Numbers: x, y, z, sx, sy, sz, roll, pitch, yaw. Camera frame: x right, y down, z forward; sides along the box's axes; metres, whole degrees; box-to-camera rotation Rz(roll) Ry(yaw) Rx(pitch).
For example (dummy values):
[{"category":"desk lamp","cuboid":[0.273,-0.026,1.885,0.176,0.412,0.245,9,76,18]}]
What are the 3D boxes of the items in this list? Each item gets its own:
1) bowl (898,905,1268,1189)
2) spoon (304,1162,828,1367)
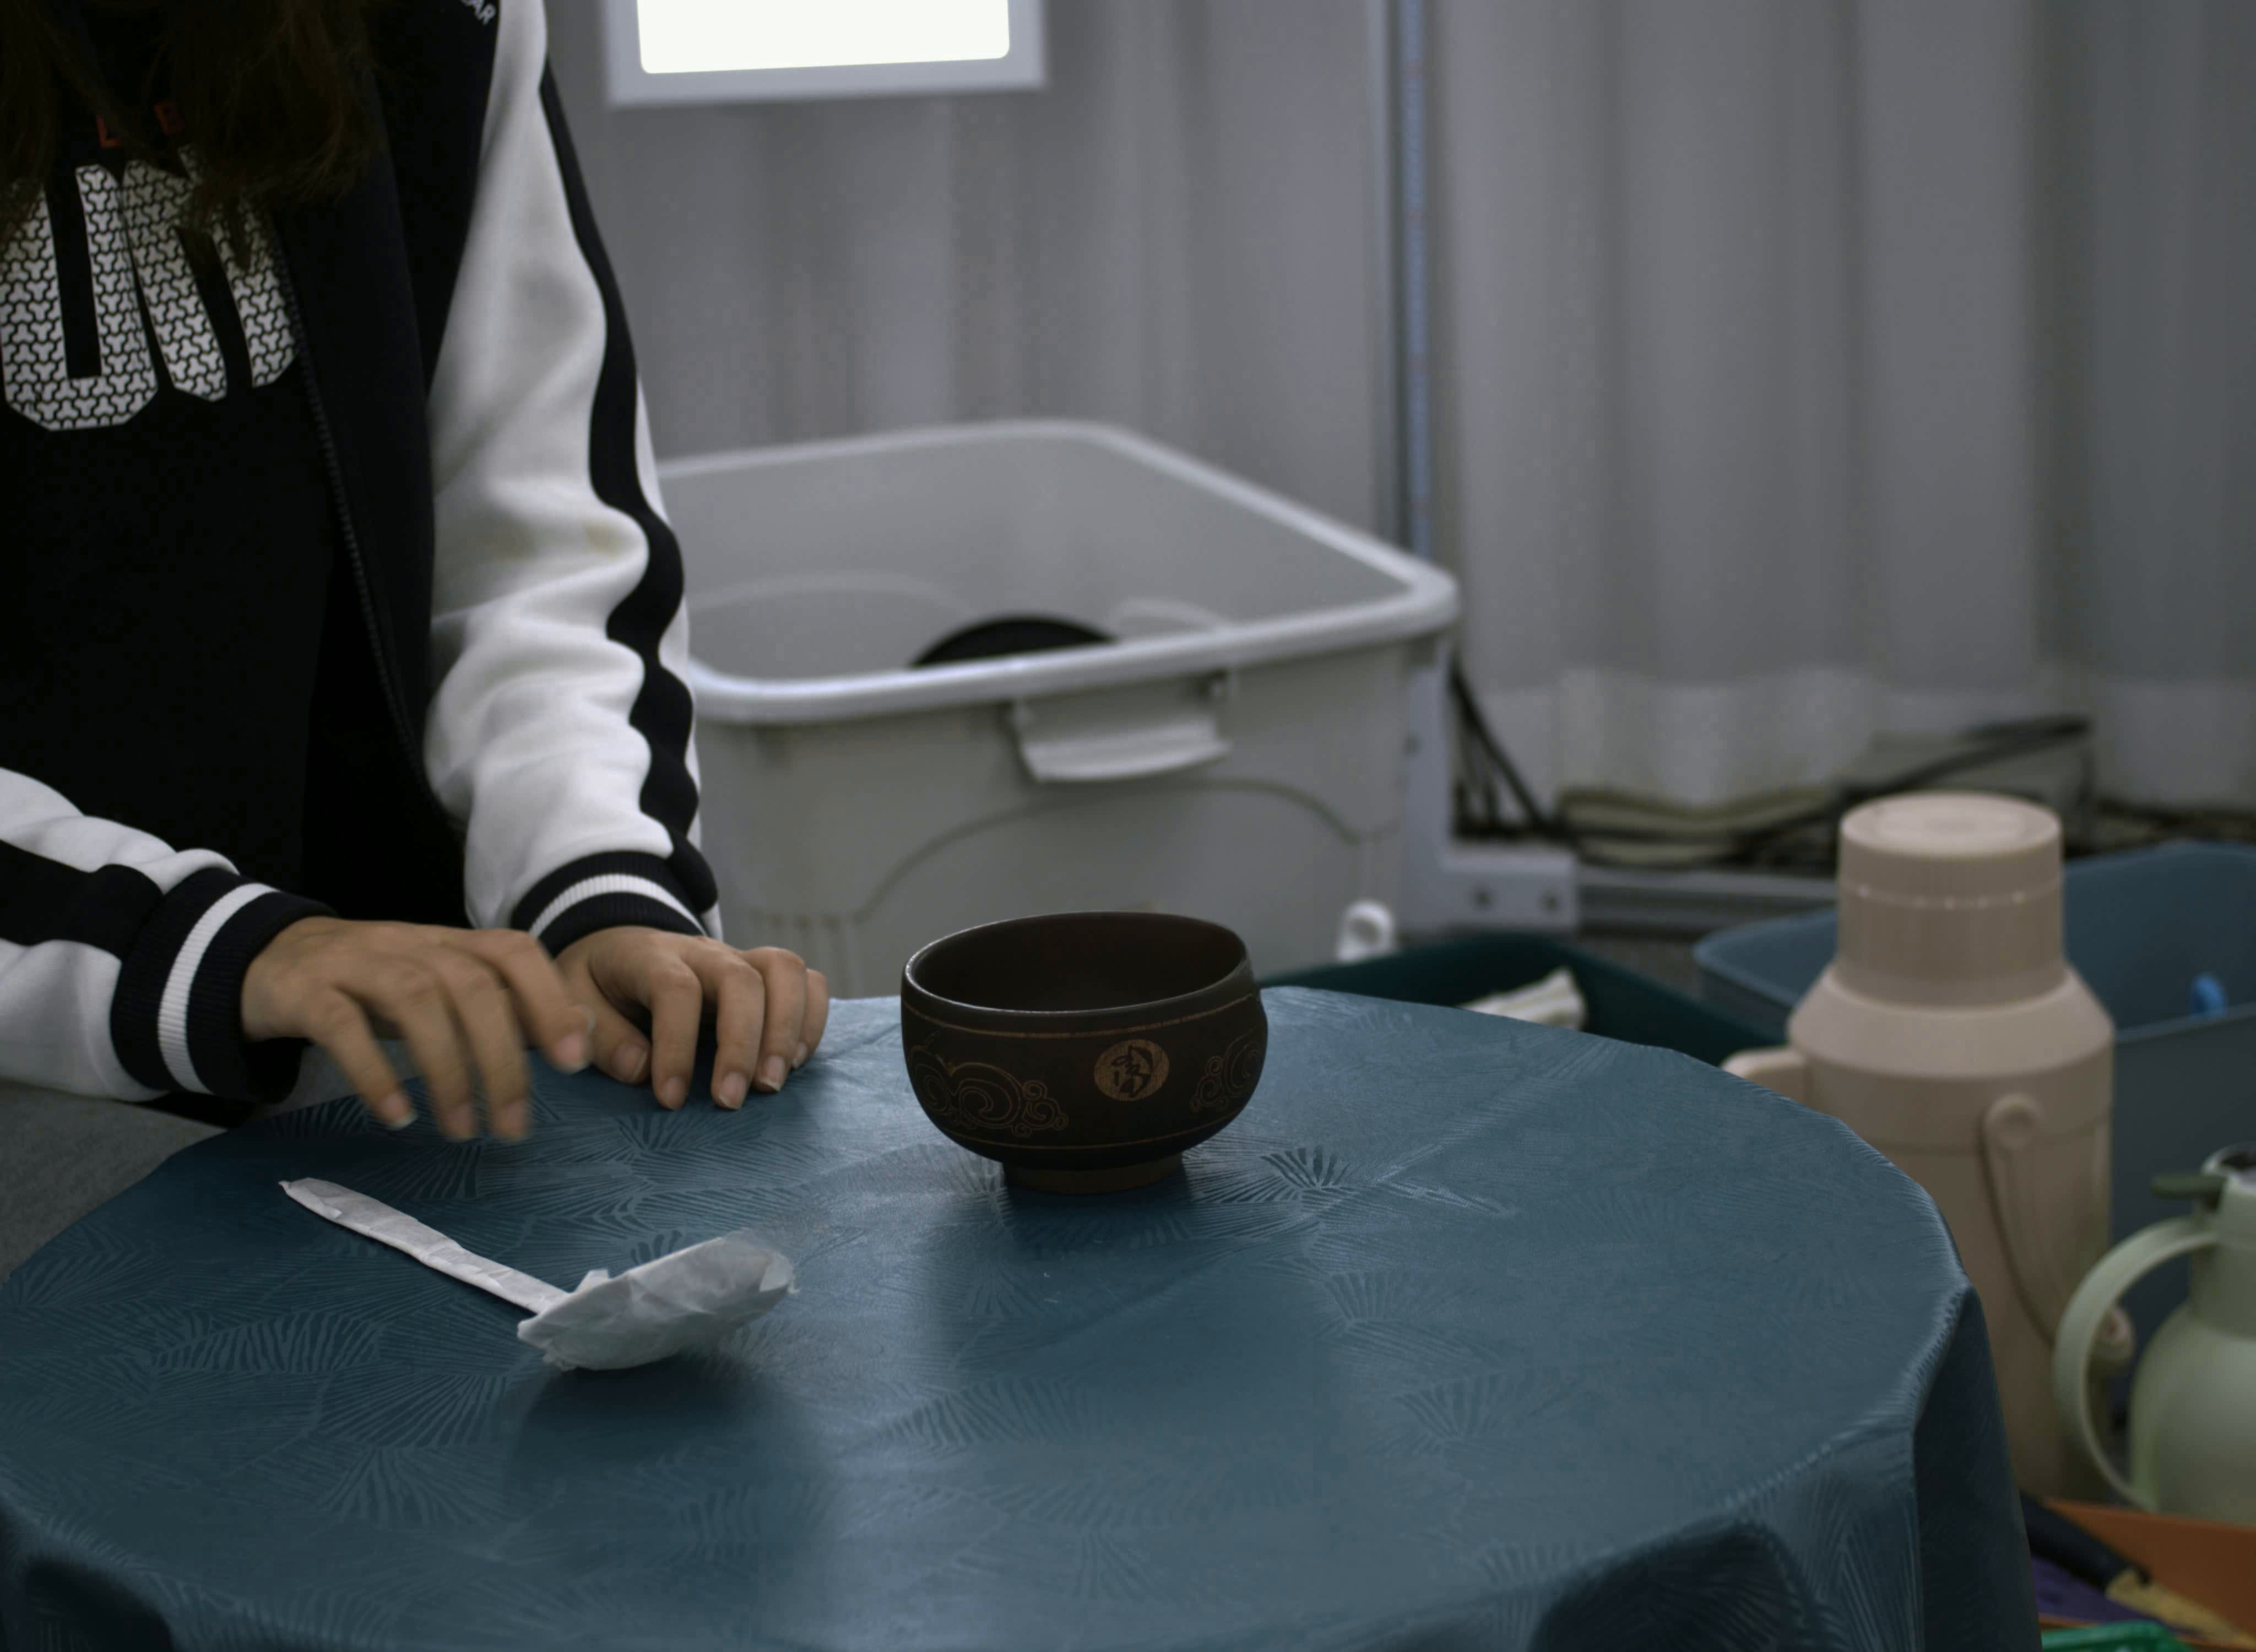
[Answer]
[{"category":"bowl","cuboid":[-0.013,0.074,1.731,0.117,0.069,0.119,-3,14,0]},{"category":"spoon","cuboid":[-0.182,0.112,1.648,0.100,0.059,0.279,-8,15,-32]}]
